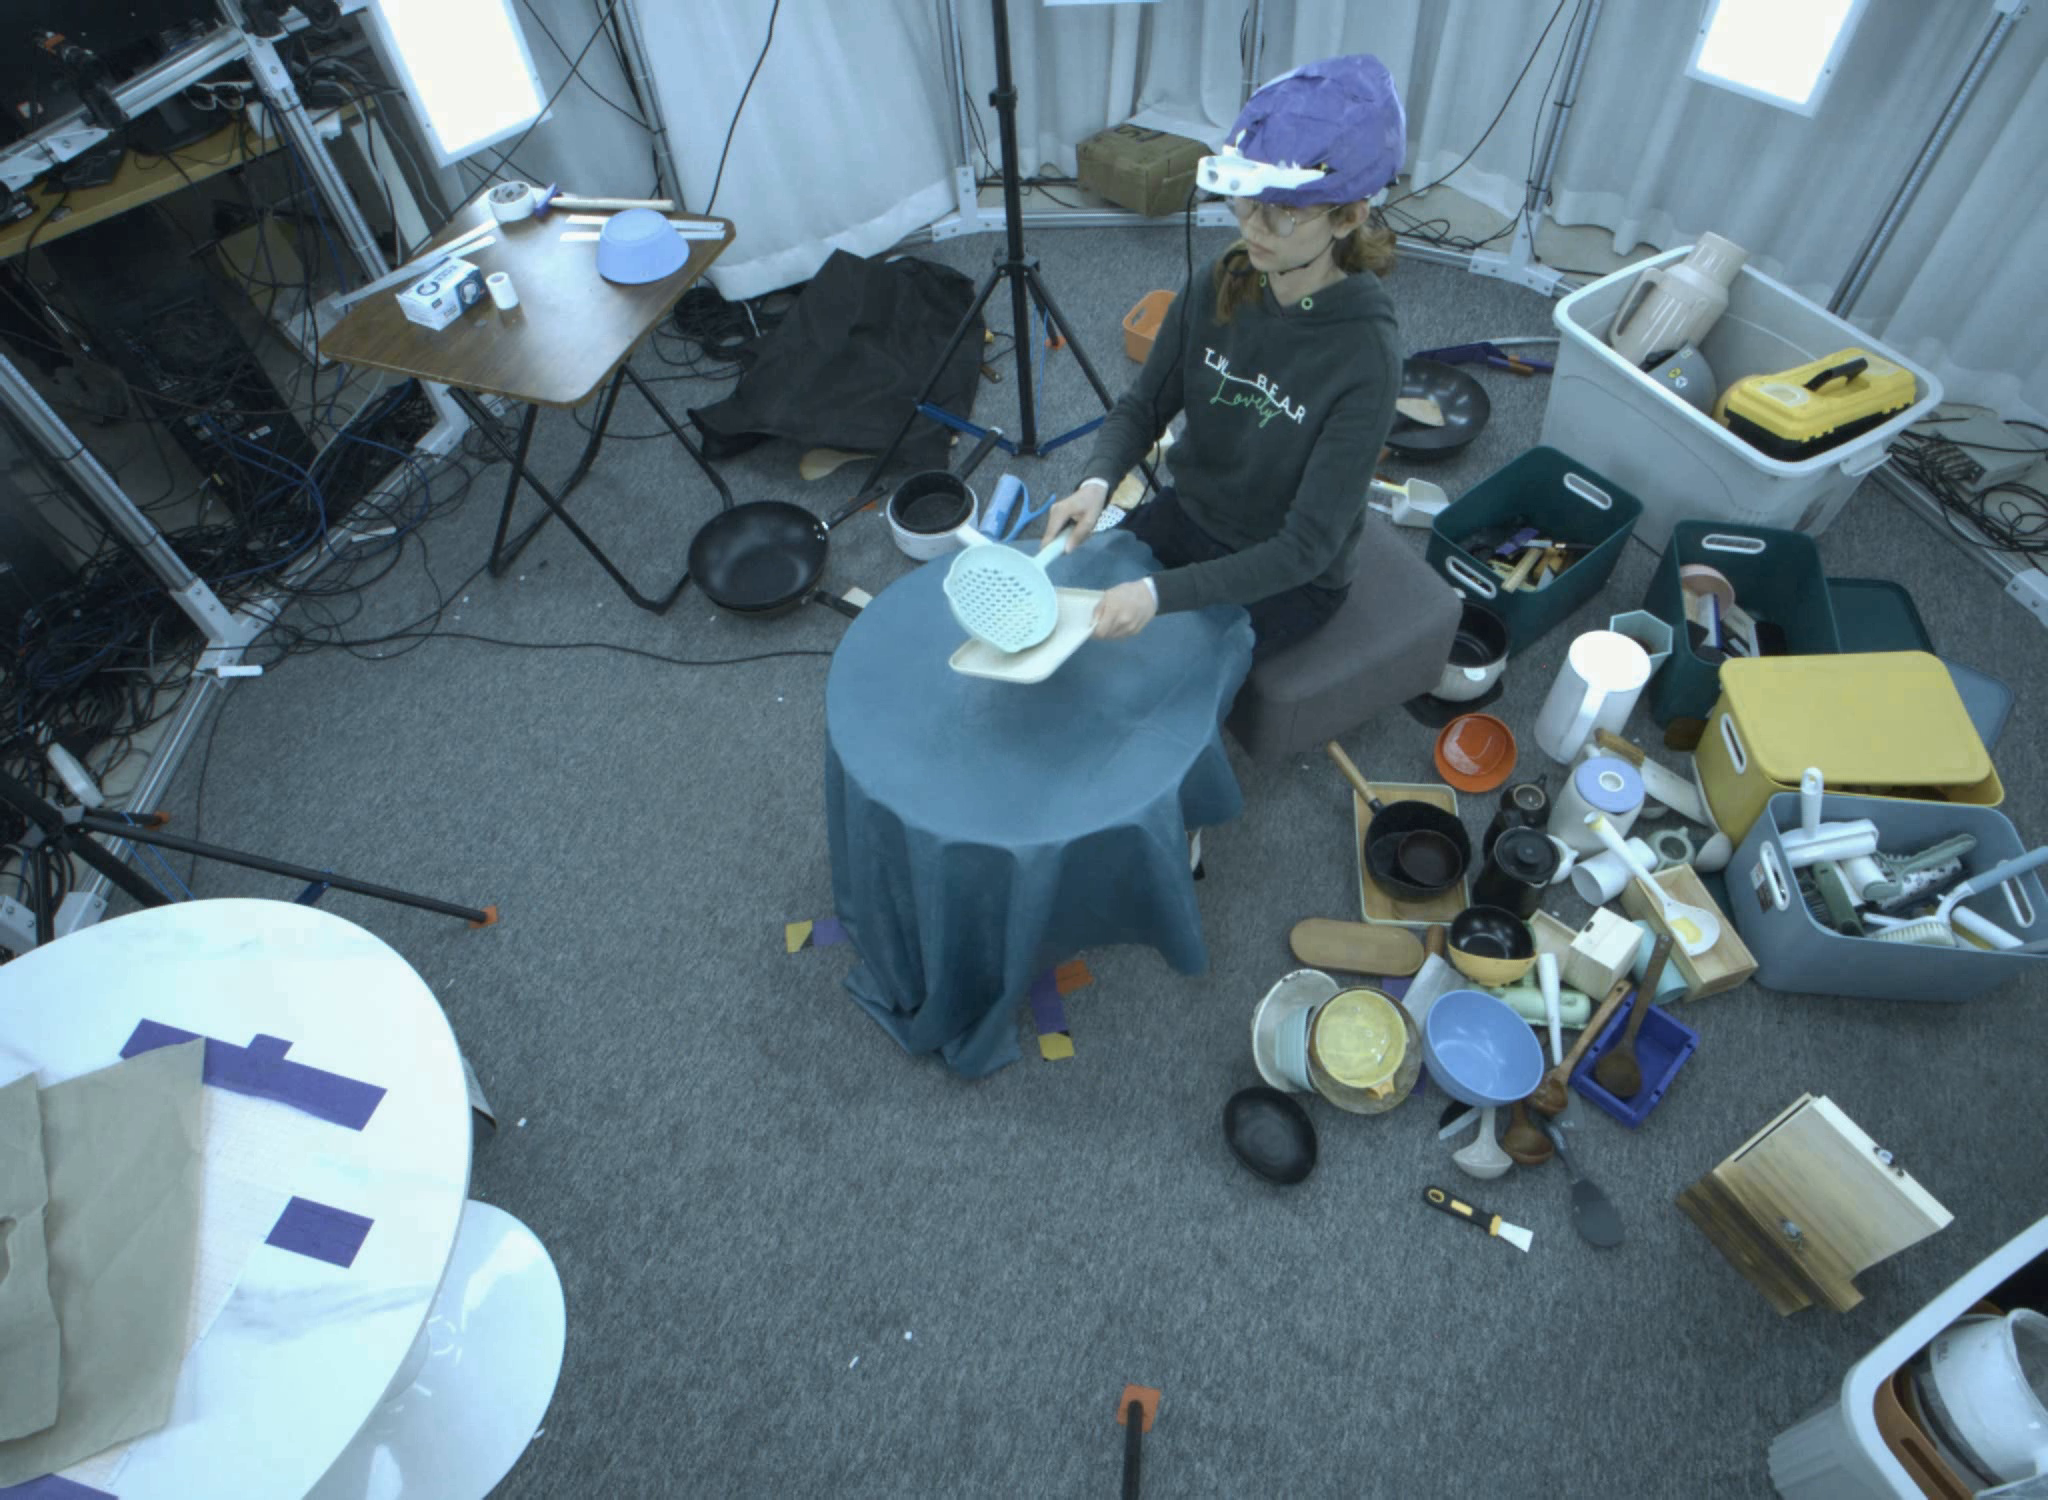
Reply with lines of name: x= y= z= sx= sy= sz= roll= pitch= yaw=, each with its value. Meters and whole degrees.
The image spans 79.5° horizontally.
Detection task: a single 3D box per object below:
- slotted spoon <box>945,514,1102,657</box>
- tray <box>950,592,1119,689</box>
slotted spoon: x=0.022 y=-0.264 z=1.794 sx=0.170 sy=0.074 sz=0.361 roll=45 pitch=59 yaw=-4
tray: x=0.018 y=-0.159 z=1.754 sx=0.168 sy=0.018 sz=0.241 roll=11 pitch=41 yaw=33
